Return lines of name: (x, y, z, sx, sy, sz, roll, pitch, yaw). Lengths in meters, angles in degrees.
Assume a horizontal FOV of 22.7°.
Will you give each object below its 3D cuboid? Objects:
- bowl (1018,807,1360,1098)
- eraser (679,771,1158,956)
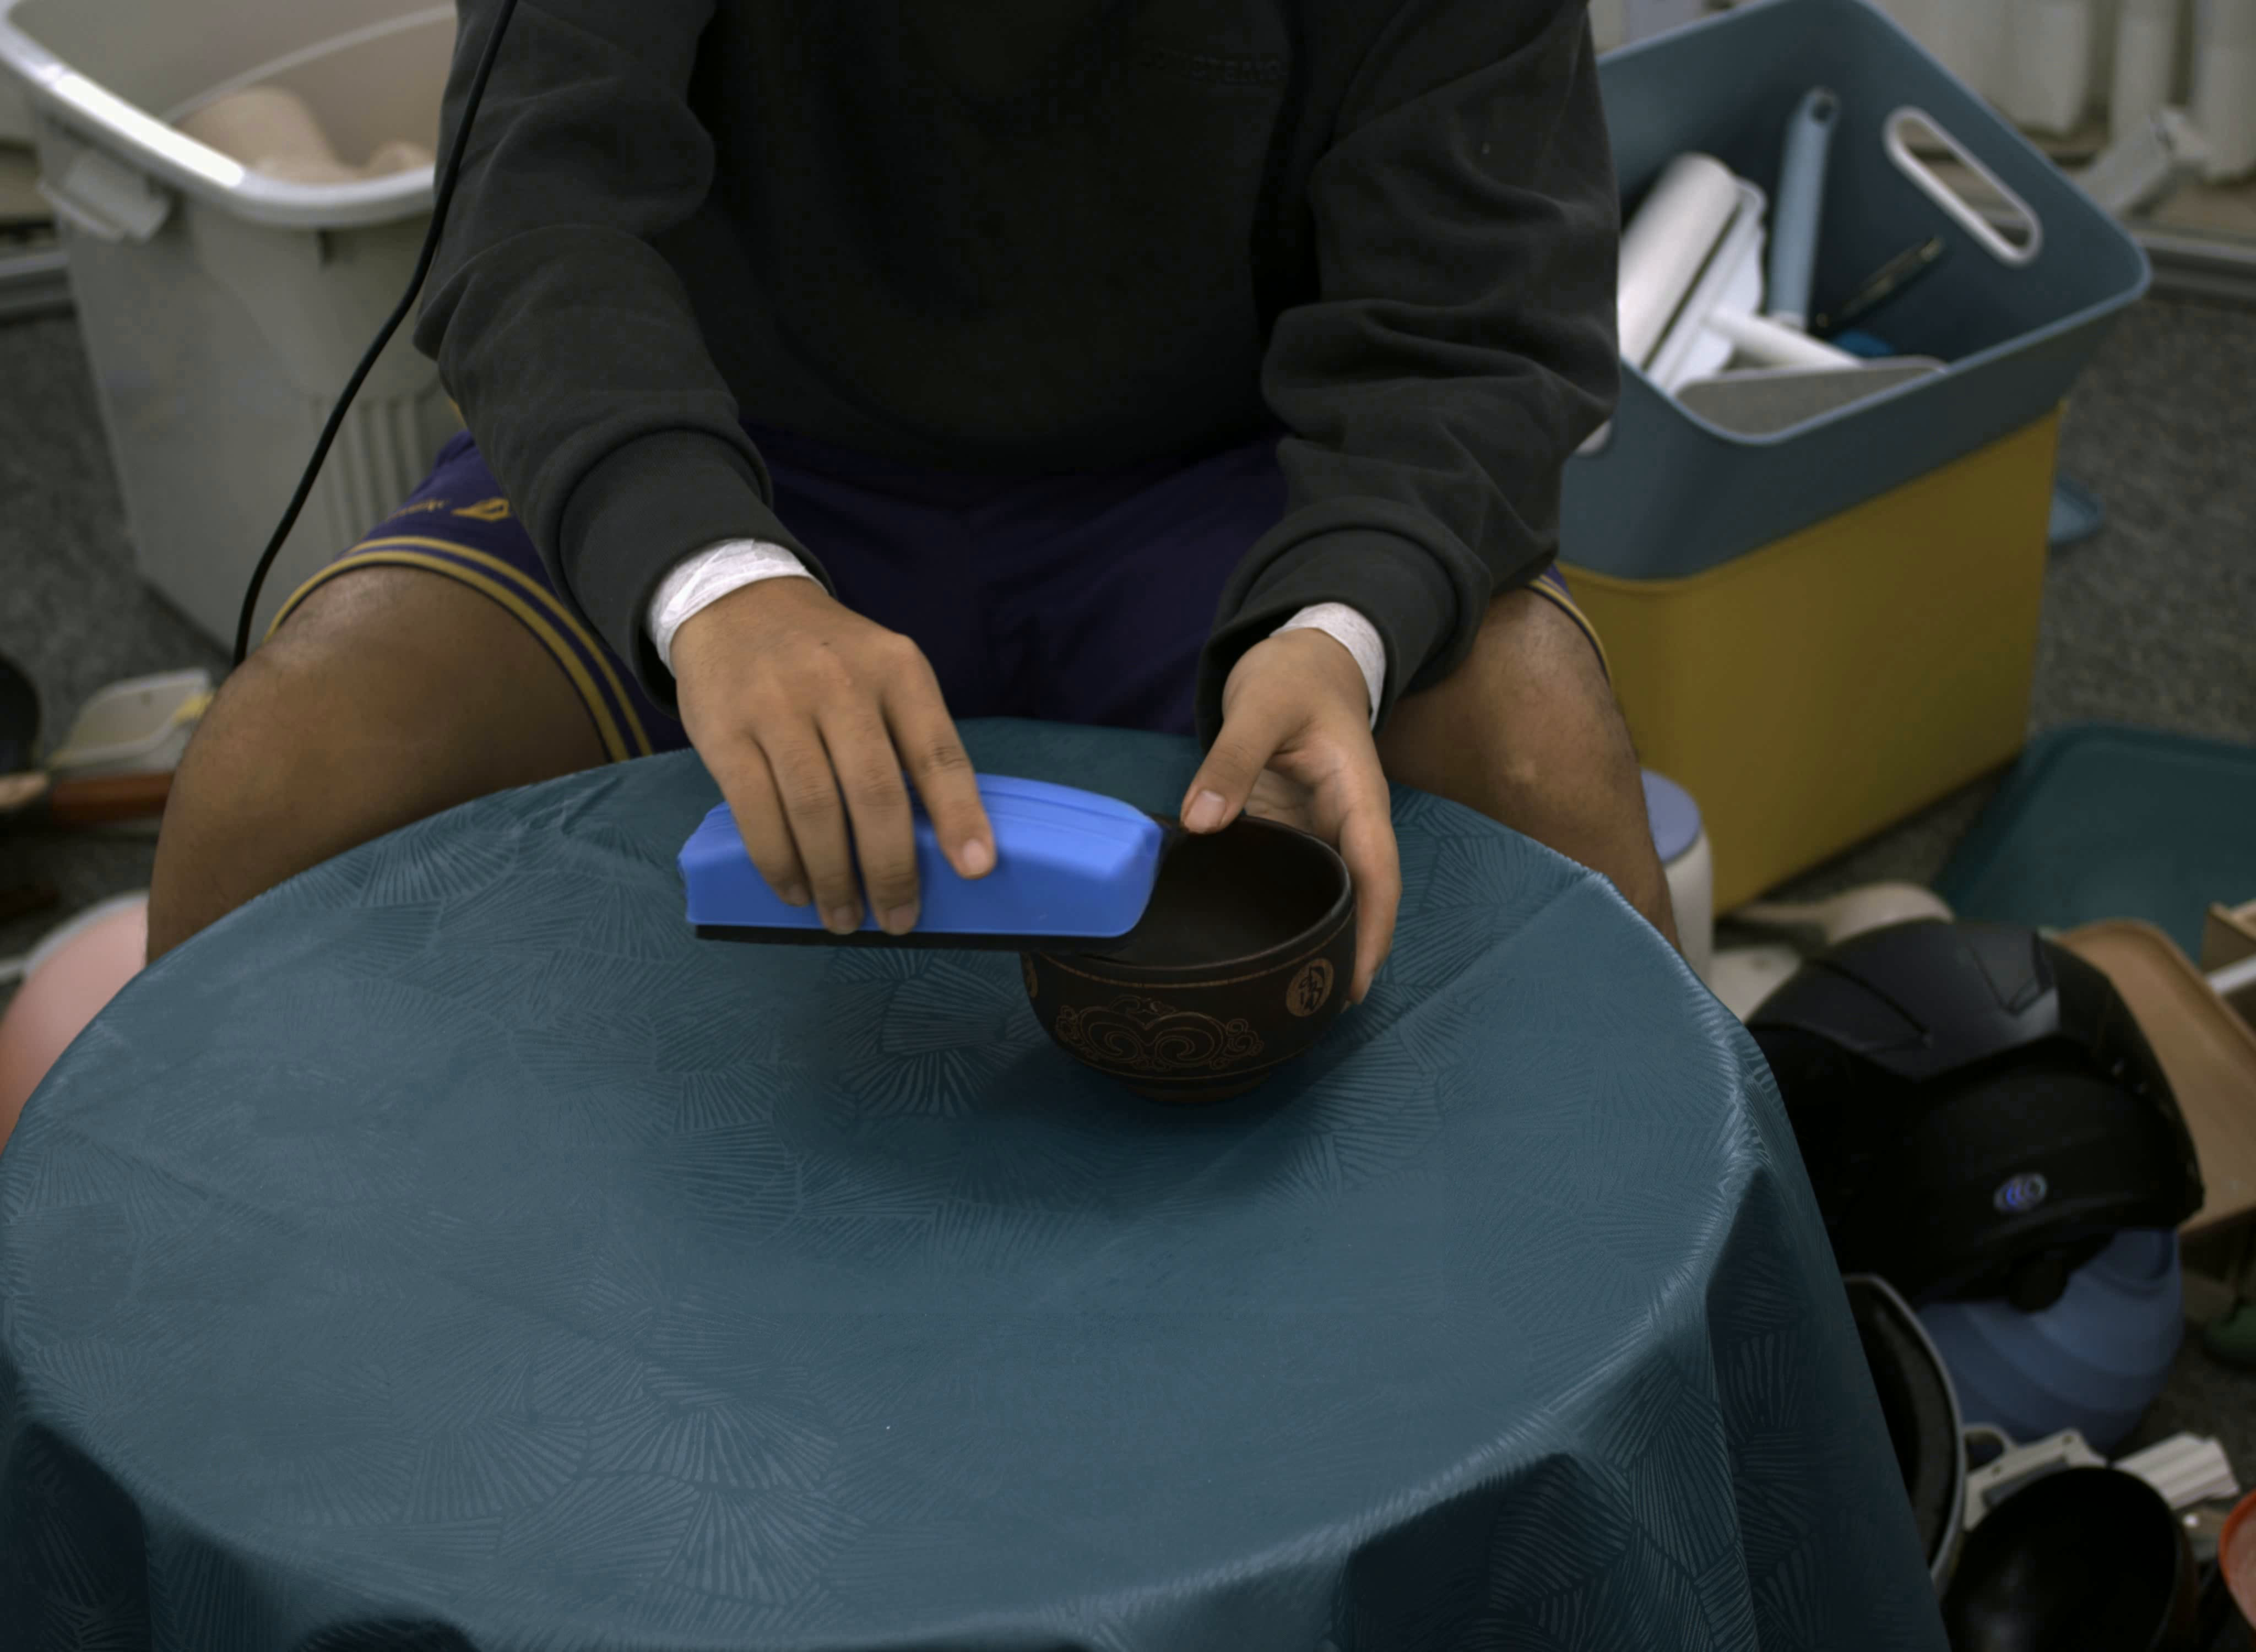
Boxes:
bowl: (0.021, 0.049, 1.919, 0.117, 0.069, 0.120, -3, 25, 2)
eraser: (-0.072, 0.011, 1.890, 0.161, 0.047, 0.055, 1, 28, 16)
